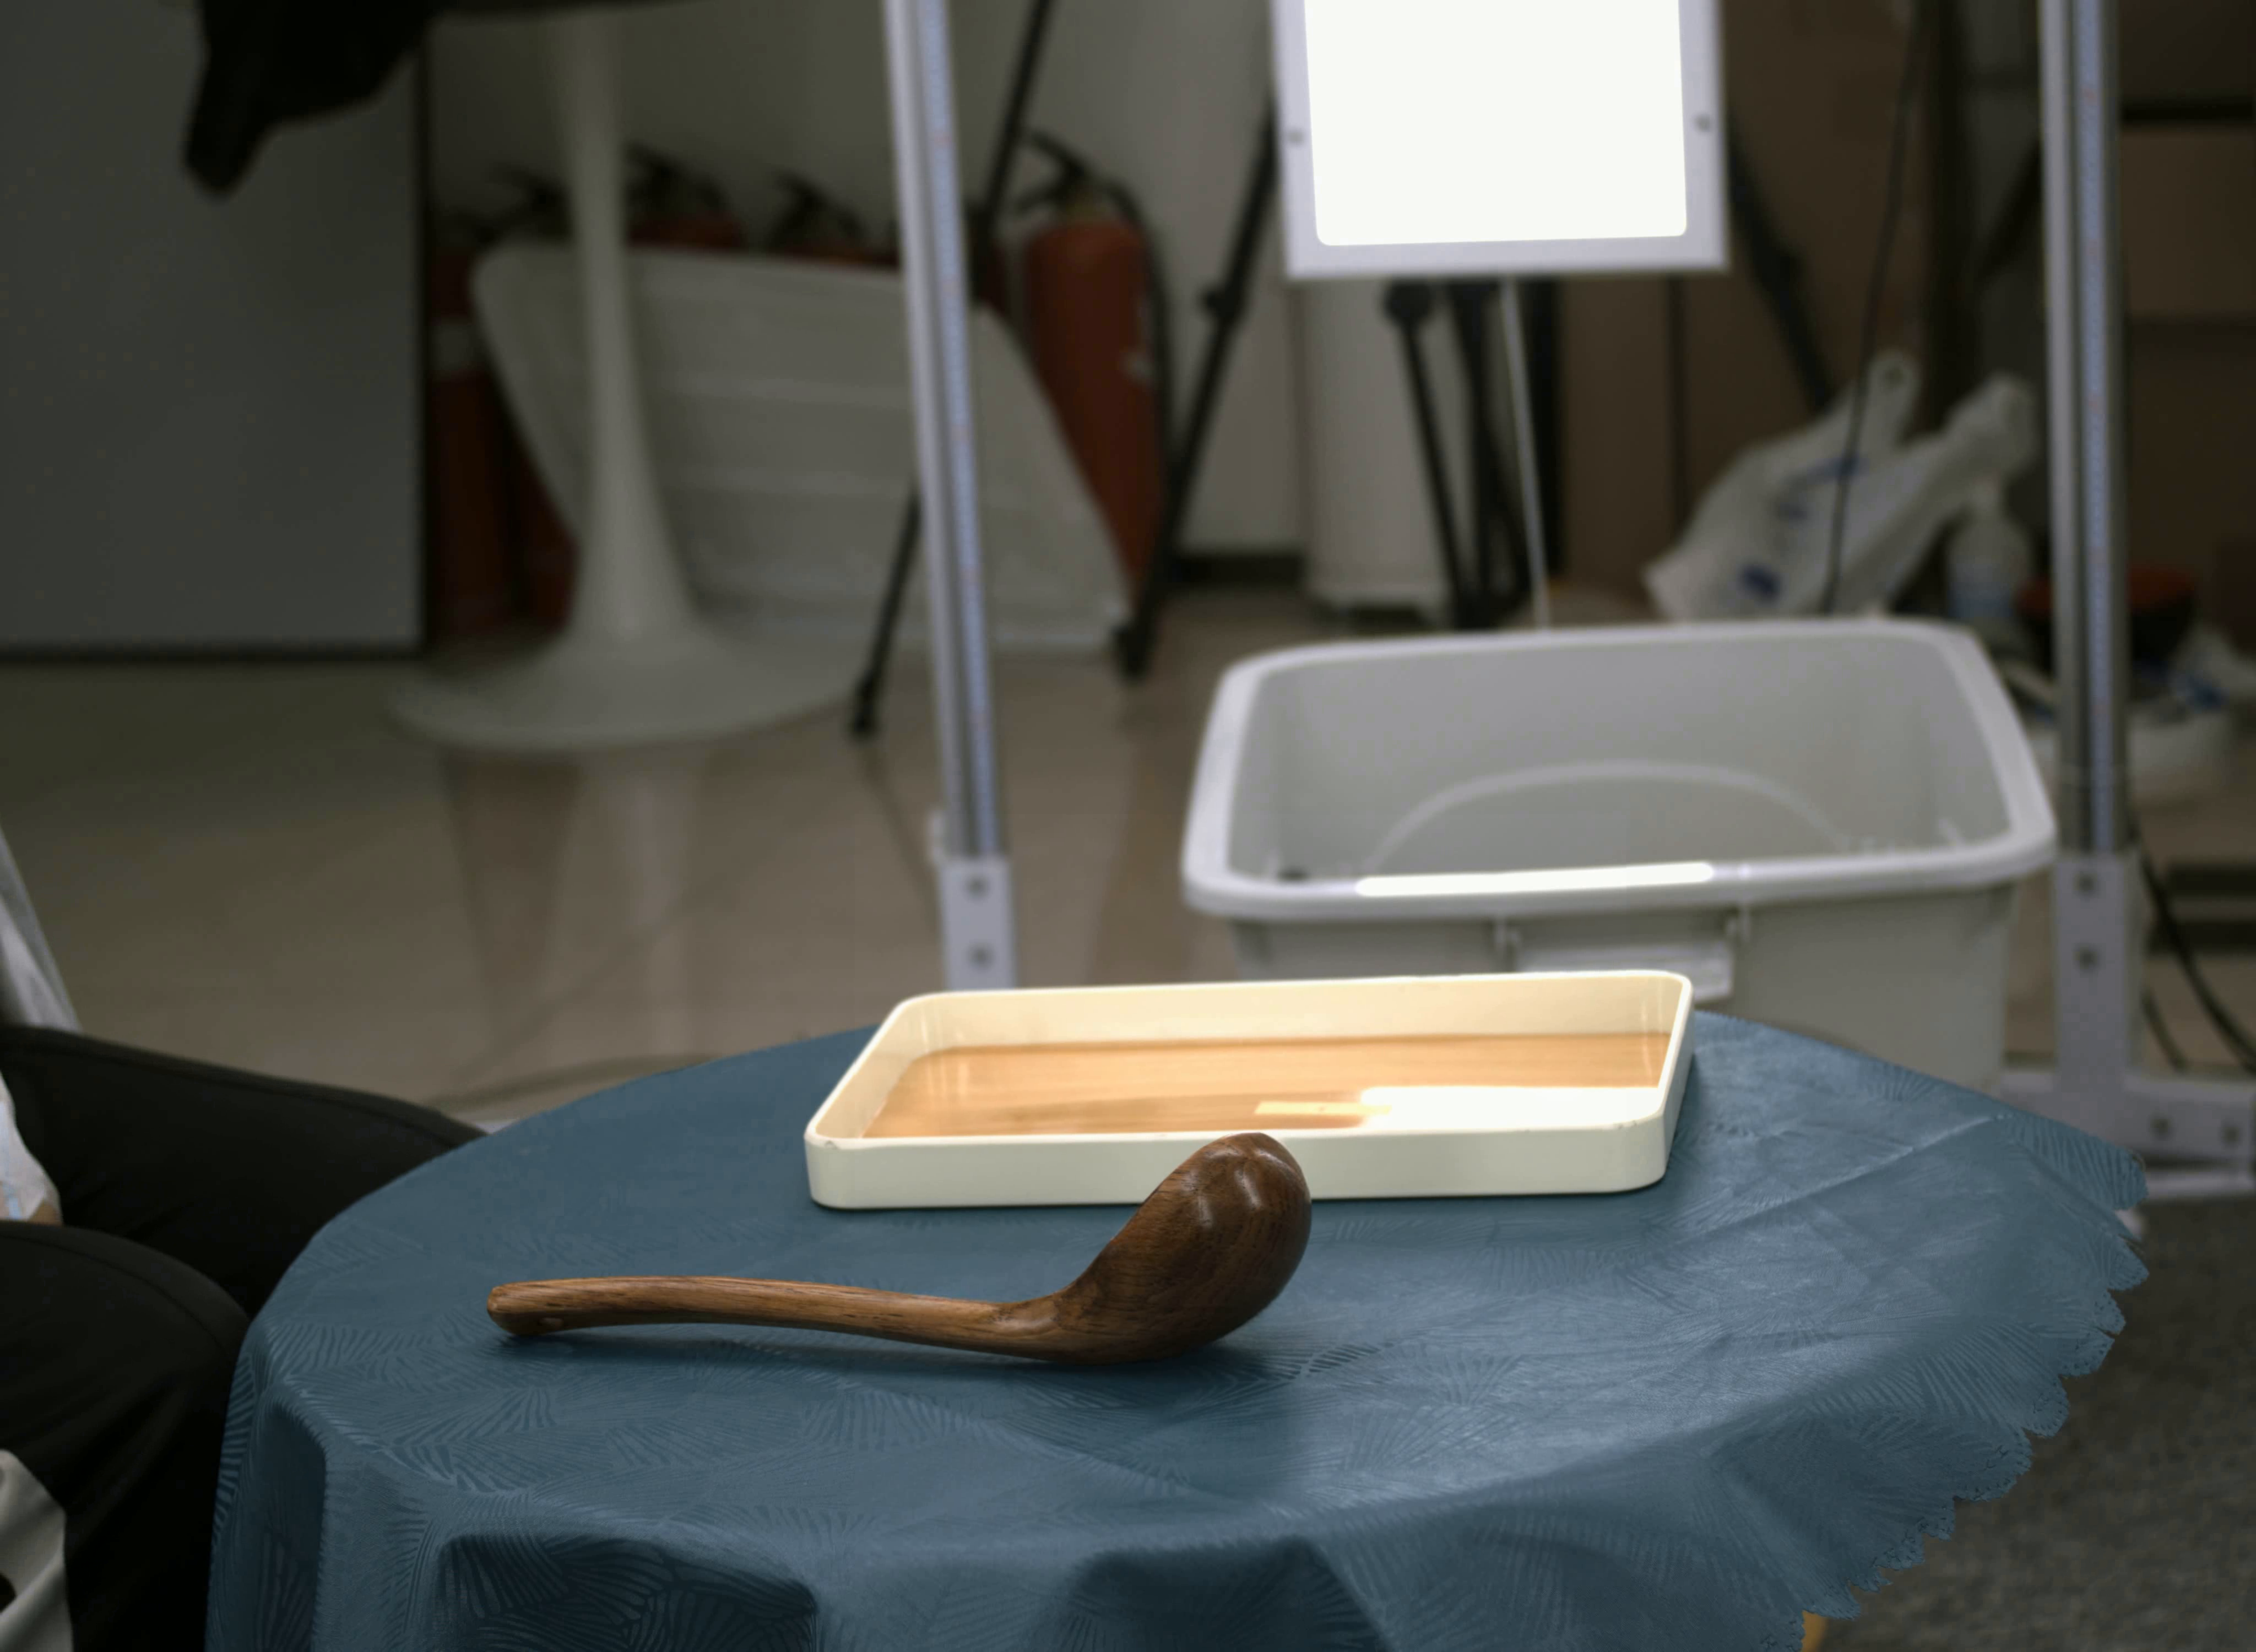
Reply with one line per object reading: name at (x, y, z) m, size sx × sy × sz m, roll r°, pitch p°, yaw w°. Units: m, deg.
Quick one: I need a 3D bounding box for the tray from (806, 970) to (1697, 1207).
tray at (0.048, 0.093, 1.960) m, size 0.302 × 0.027 × 0.189 m, roll -2°, pitch 14°, yaw 13°

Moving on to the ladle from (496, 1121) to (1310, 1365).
ladle at (-0.074, 0.131, 1.759) m, size 0.278 × 0.076 × 0.081 m, roll 0°, pitch -27°, yaw 25°
